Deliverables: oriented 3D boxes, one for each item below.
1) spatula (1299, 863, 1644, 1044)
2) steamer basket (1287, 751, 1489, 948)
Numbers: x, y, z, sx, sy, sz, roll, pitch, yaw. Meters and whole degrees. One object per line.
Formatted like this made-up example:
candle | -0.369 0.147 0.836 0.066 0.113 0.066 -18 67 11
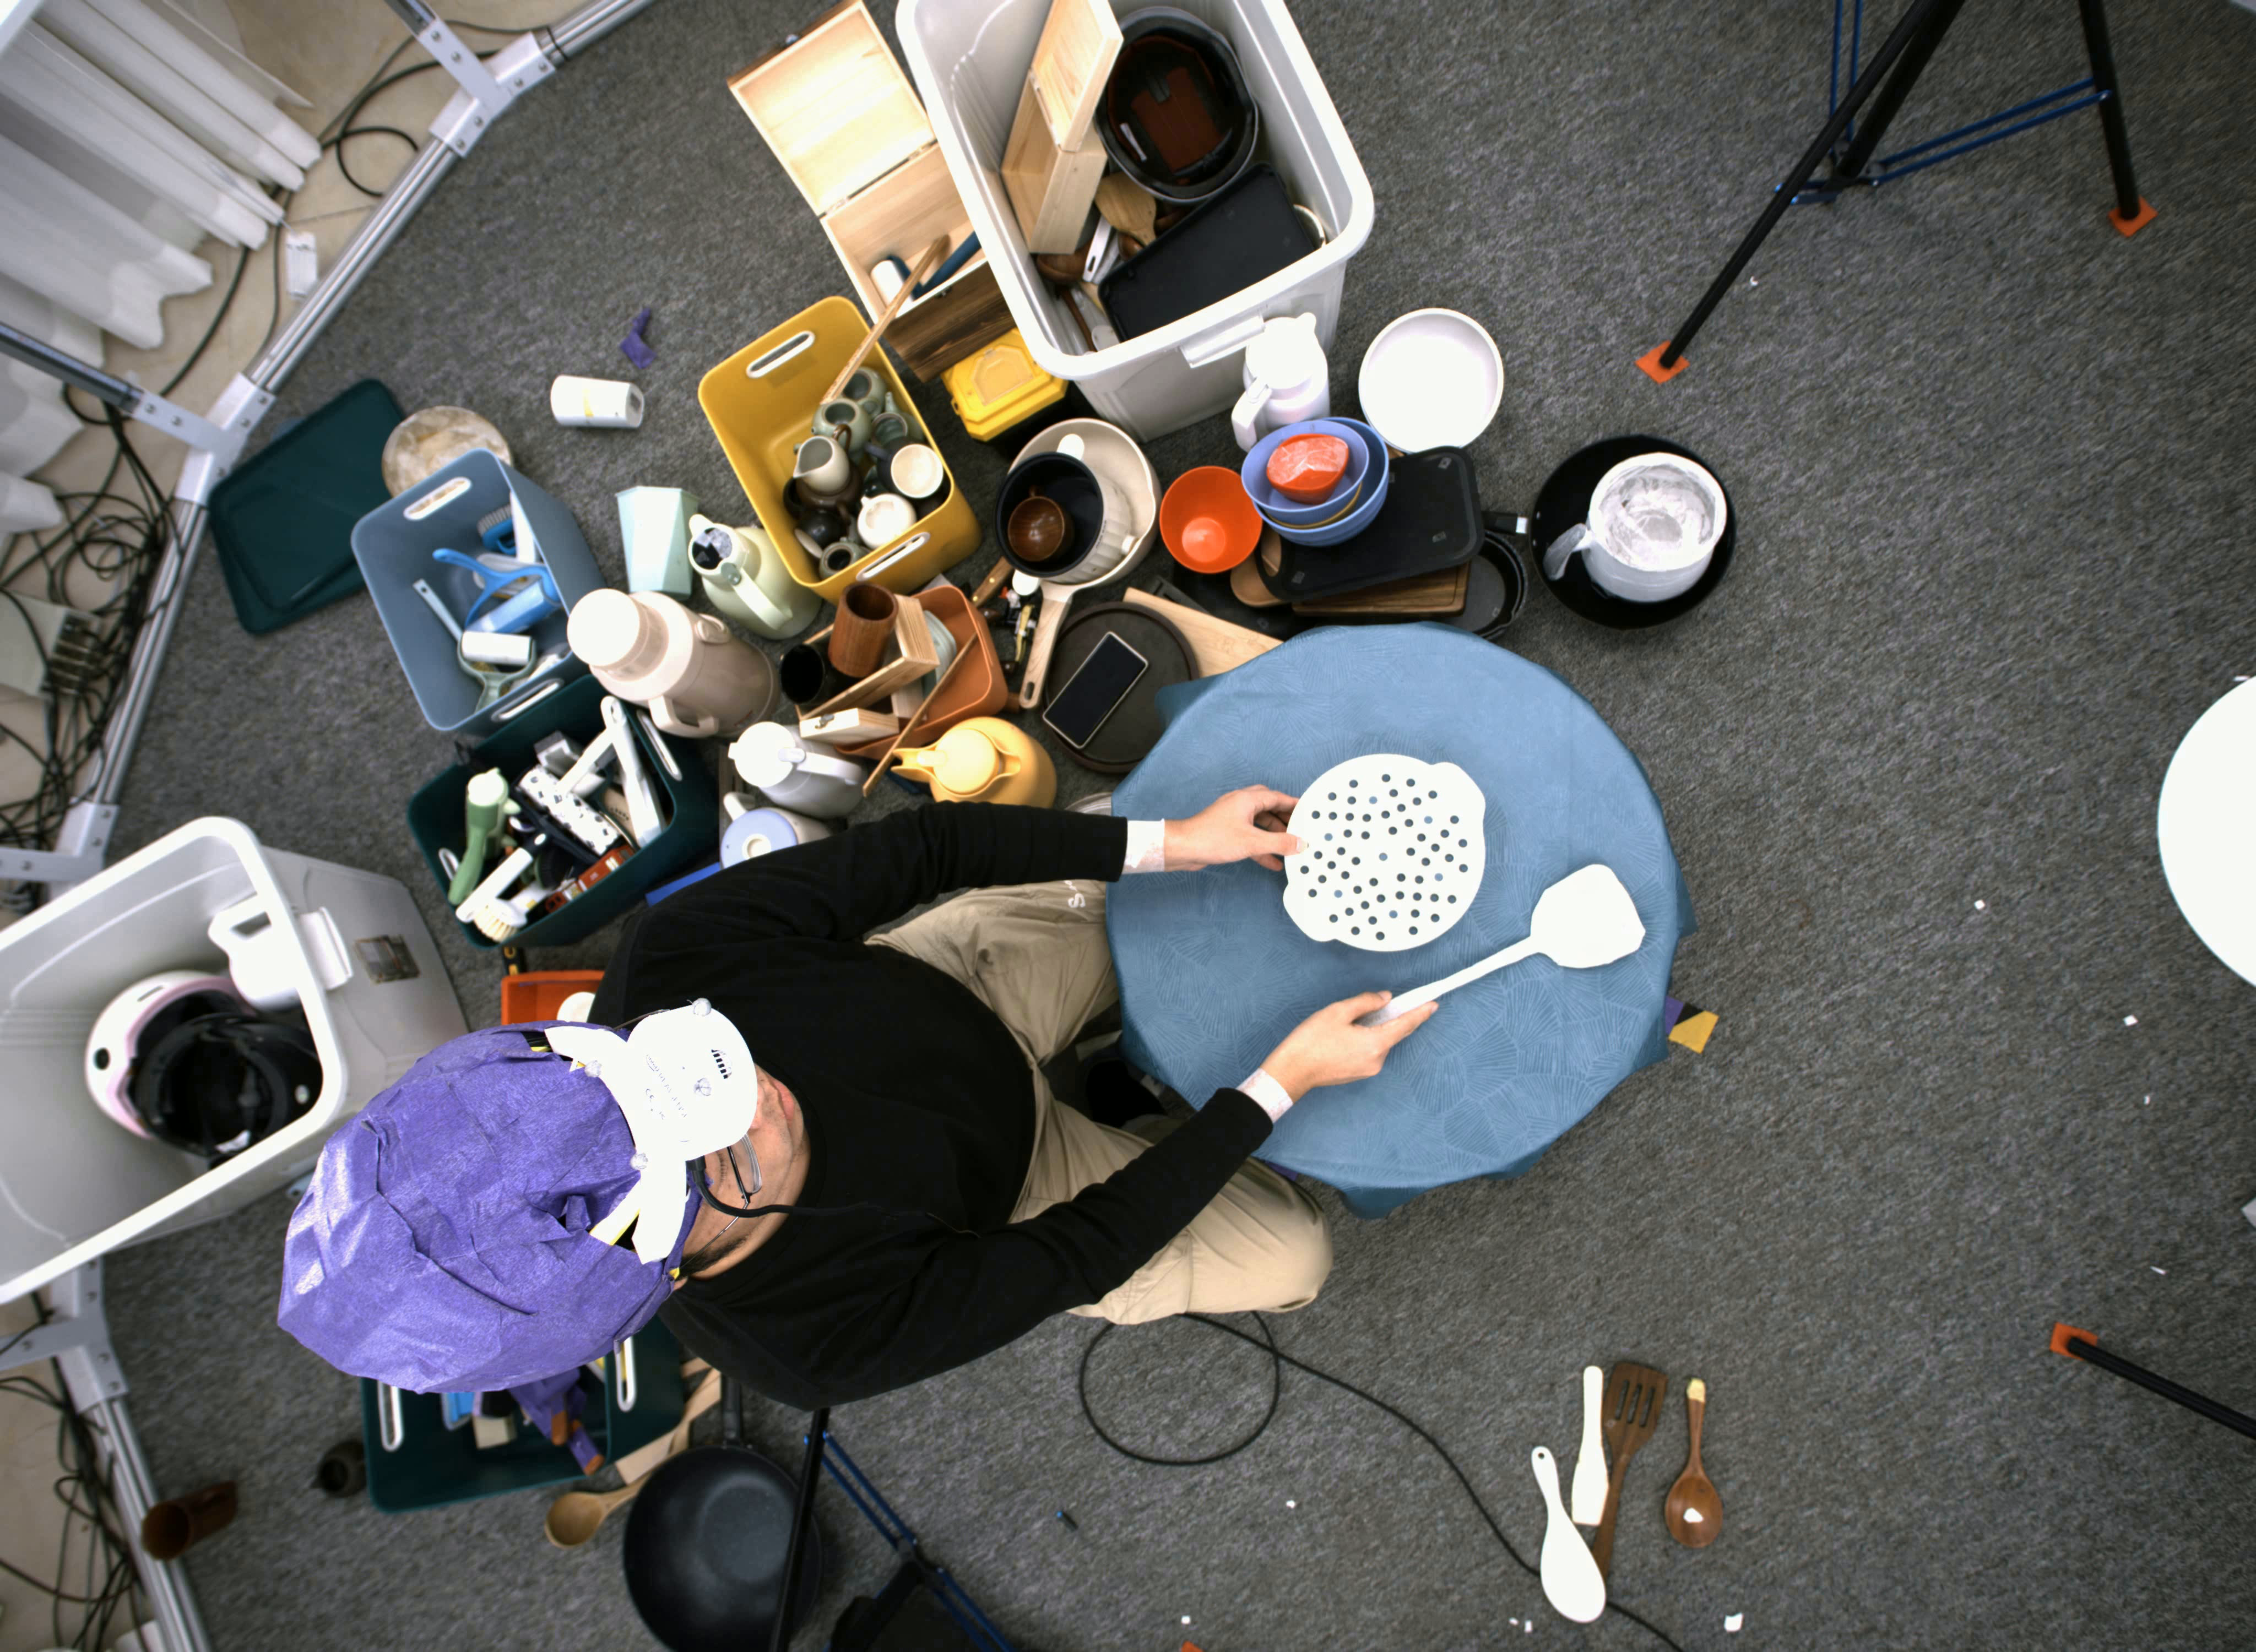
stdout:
spatula | 0.347 0.147 1.409 0.365 0.045 0.098 -24 84 1
steamer basket | 0.268 0.025 1.427 0.232 0.069 0.201 -39 81 7
